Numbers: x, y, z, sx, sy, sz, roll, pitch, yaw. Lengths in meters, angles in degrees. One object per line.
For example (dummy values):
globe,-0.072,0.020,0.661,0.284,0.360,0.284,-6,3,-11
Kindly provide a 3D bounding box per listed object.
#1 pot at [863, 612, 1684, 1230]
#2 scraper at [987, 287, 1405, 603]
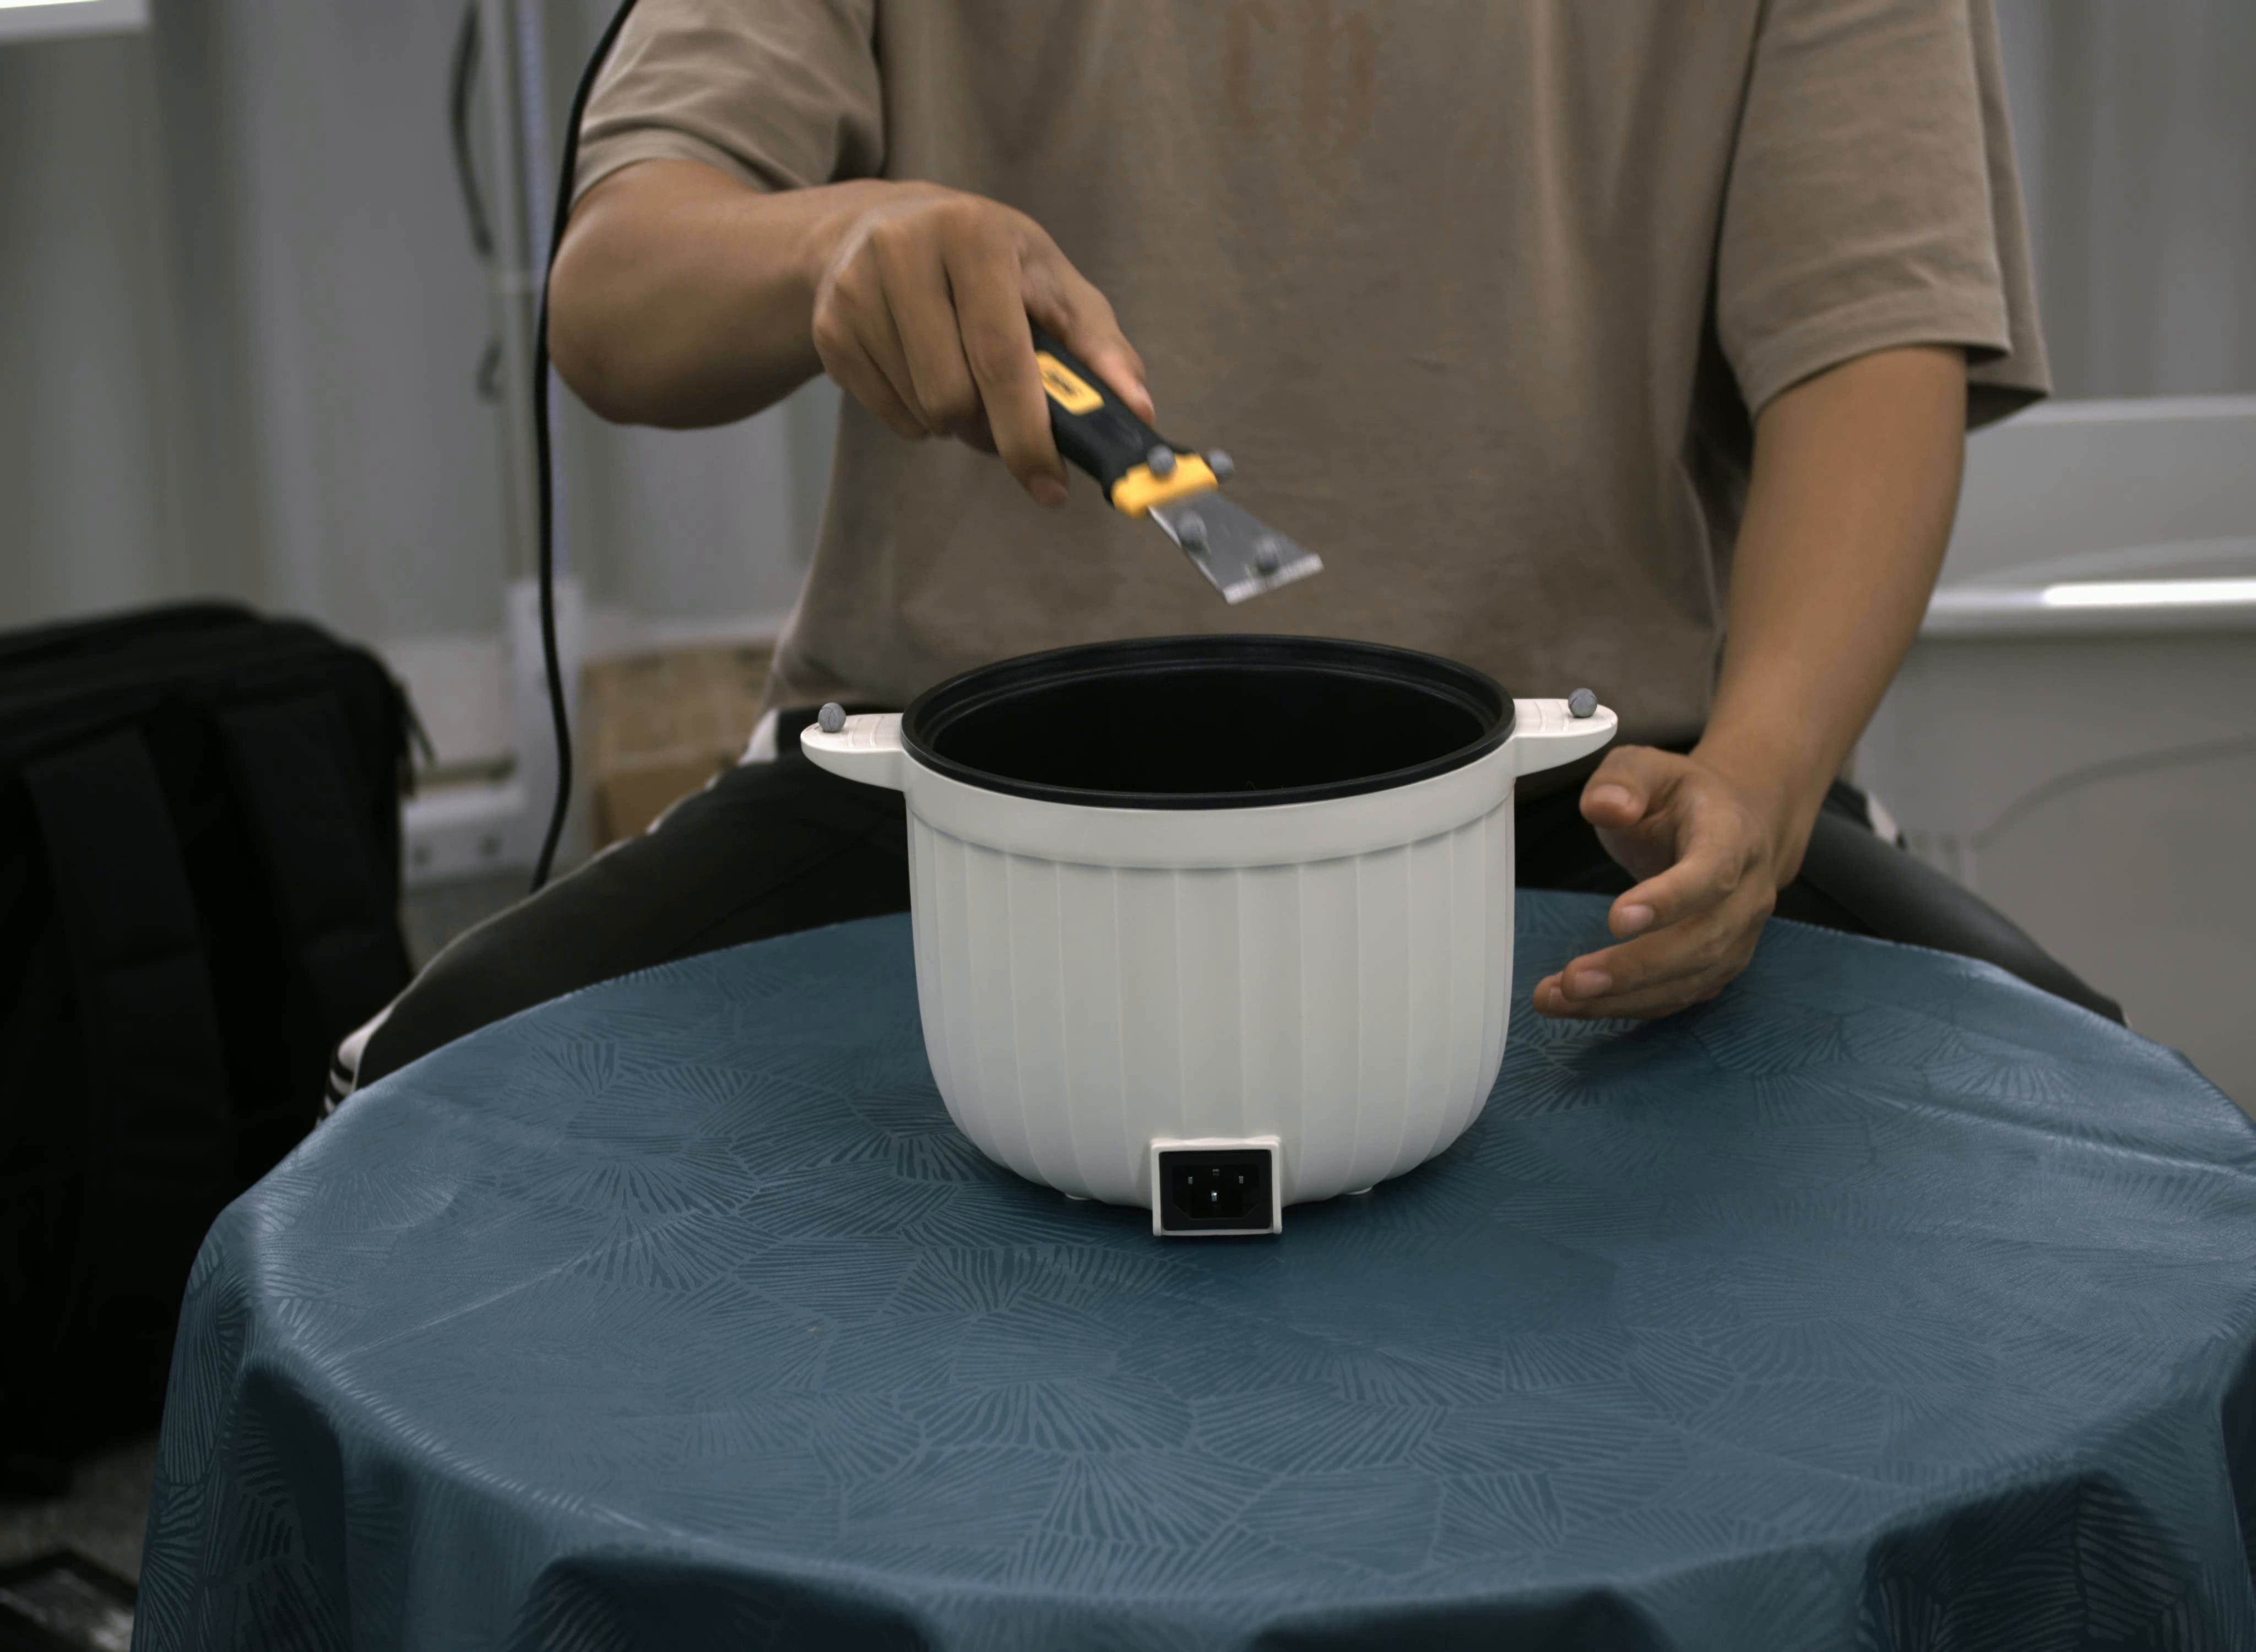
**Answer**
pot,0.043,0.025,1.576,0.240,0.142,0.191,0,20,2
scraper,0.014,-0.113,1.561,0.038,0.015,0.175,-27,46,-24
